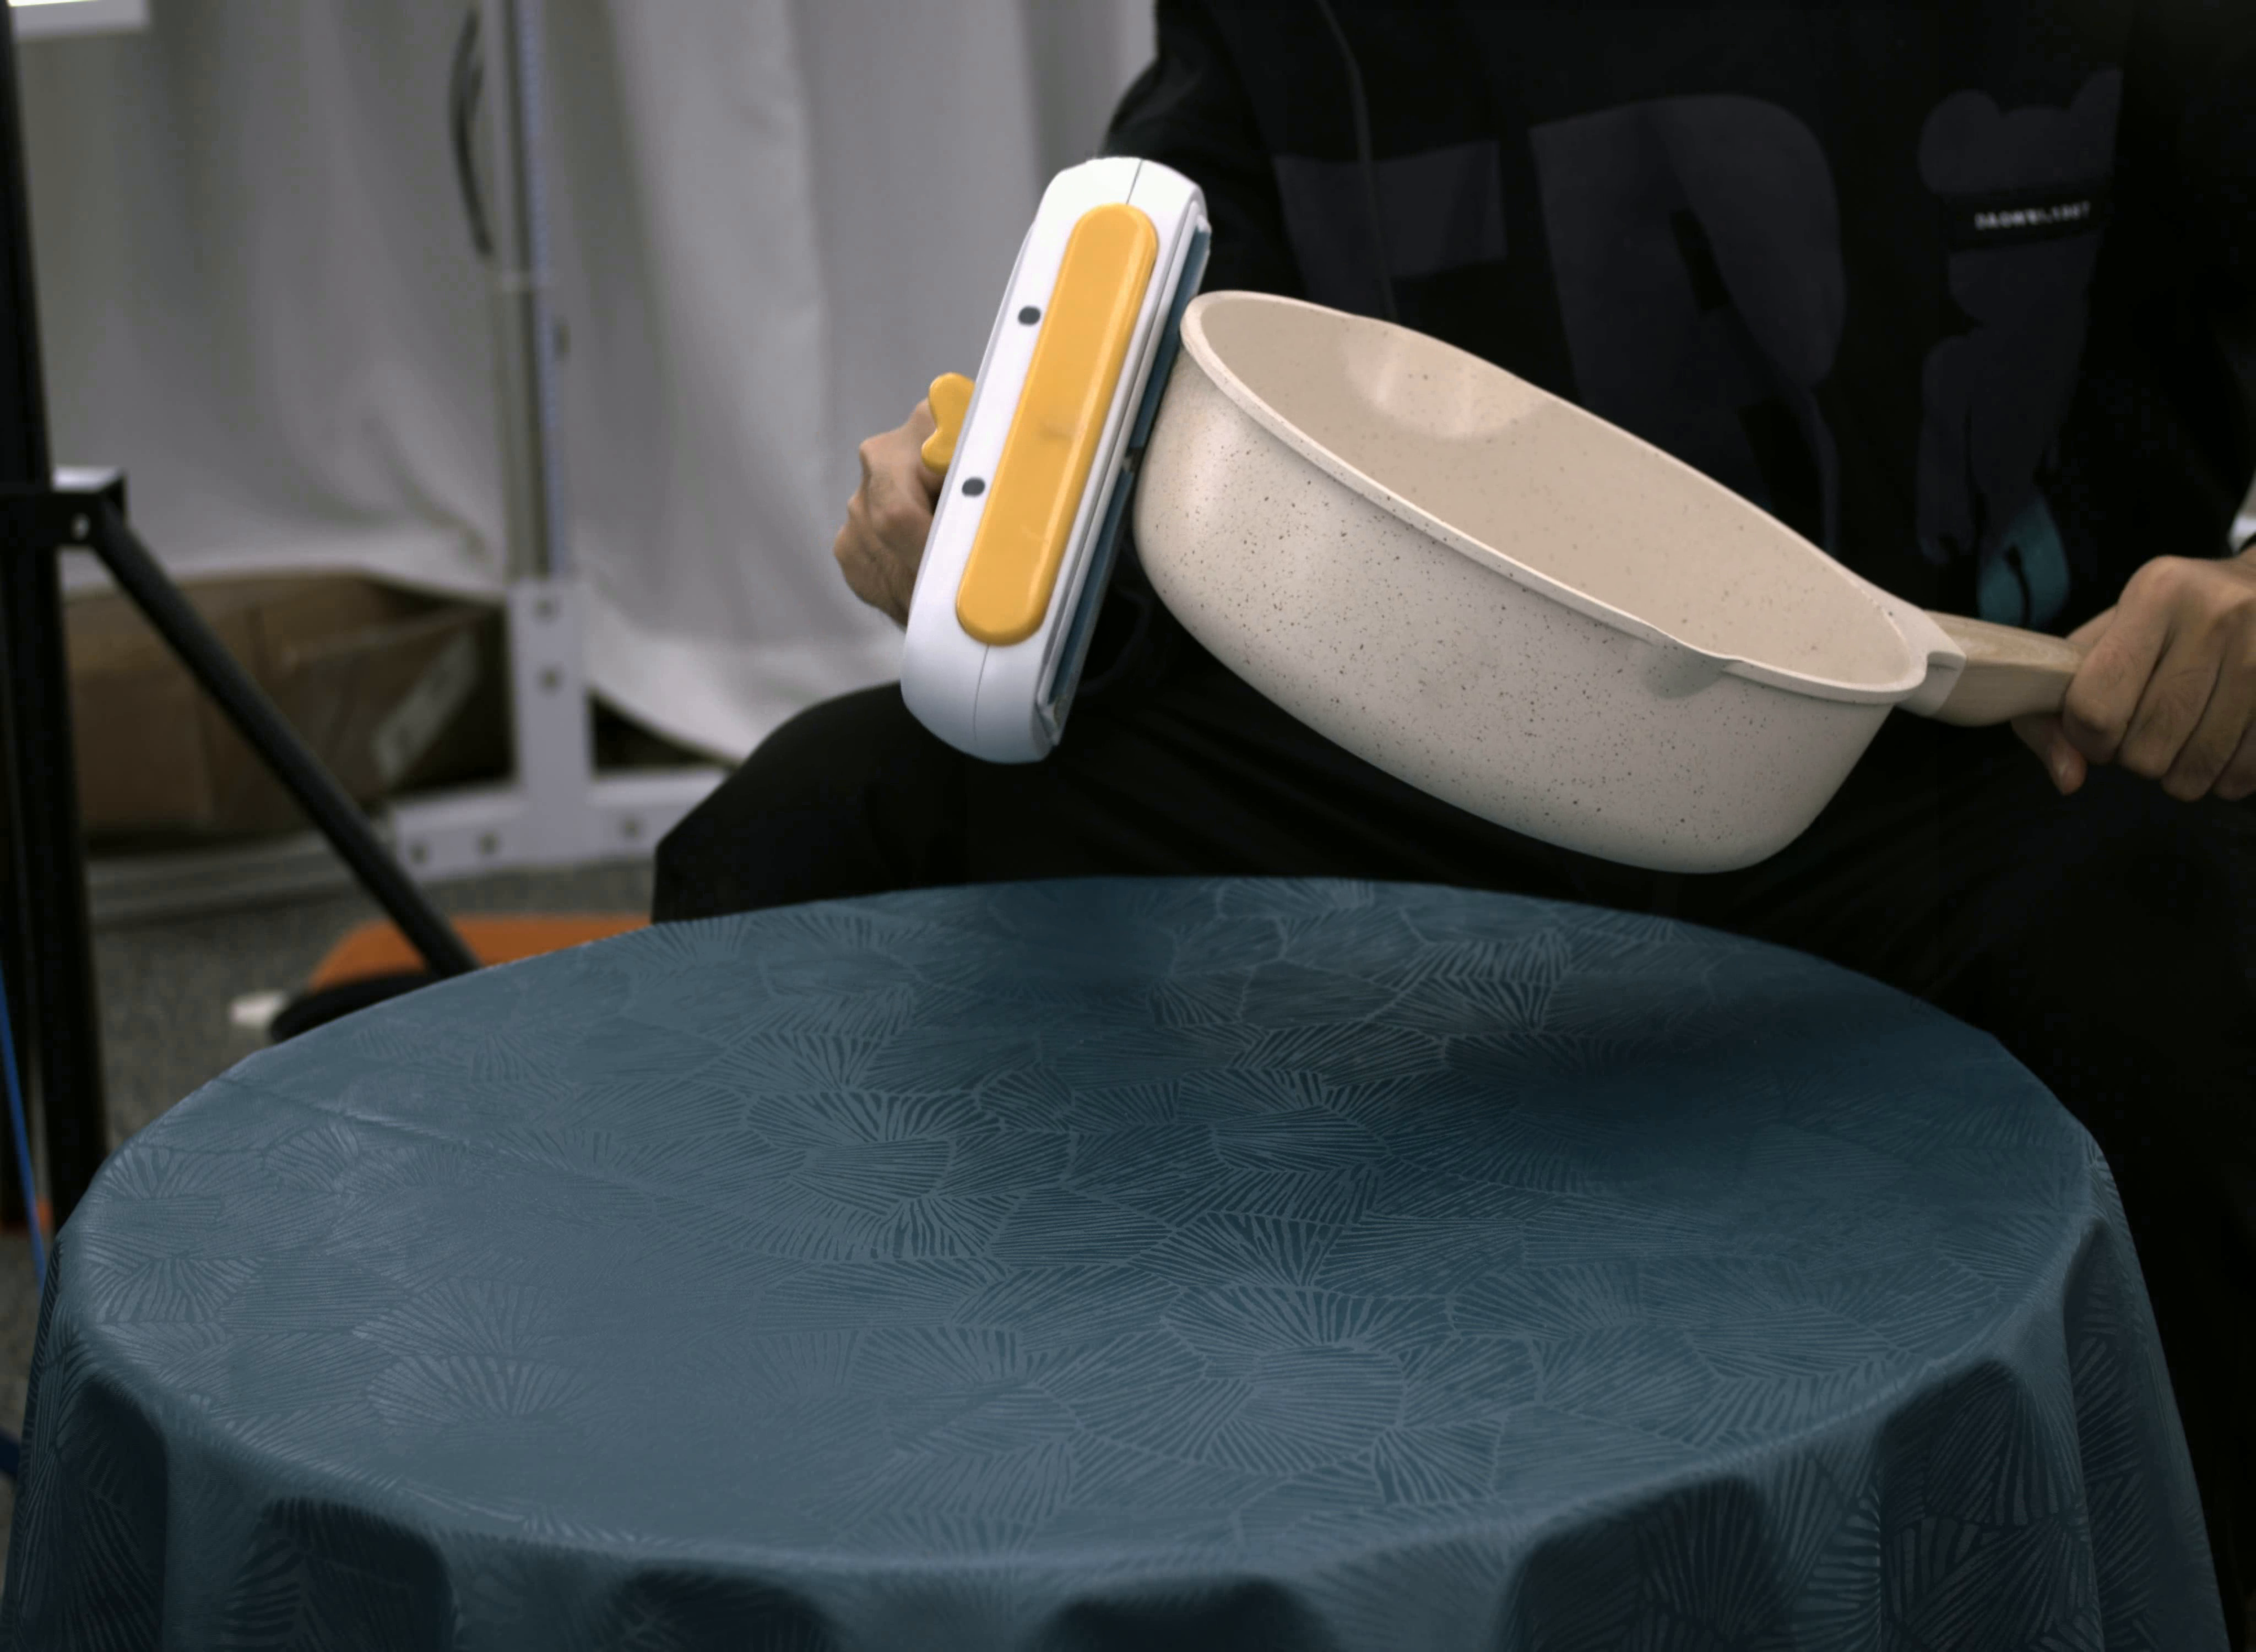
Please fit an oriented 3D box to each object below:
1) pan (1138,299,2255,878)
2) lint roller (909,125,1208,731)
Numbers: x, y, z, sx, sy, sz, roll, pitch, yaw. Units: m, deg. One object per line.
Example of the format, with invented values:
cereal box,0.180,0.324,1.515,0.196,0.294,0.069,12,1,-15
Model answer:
pan,0.199,-0.046,1.651,0.426,0.102,0.267,19,16,-21
lint roller,-0.030,-0.105,1.690,0.074,0.194,0.192,12,-19,1
